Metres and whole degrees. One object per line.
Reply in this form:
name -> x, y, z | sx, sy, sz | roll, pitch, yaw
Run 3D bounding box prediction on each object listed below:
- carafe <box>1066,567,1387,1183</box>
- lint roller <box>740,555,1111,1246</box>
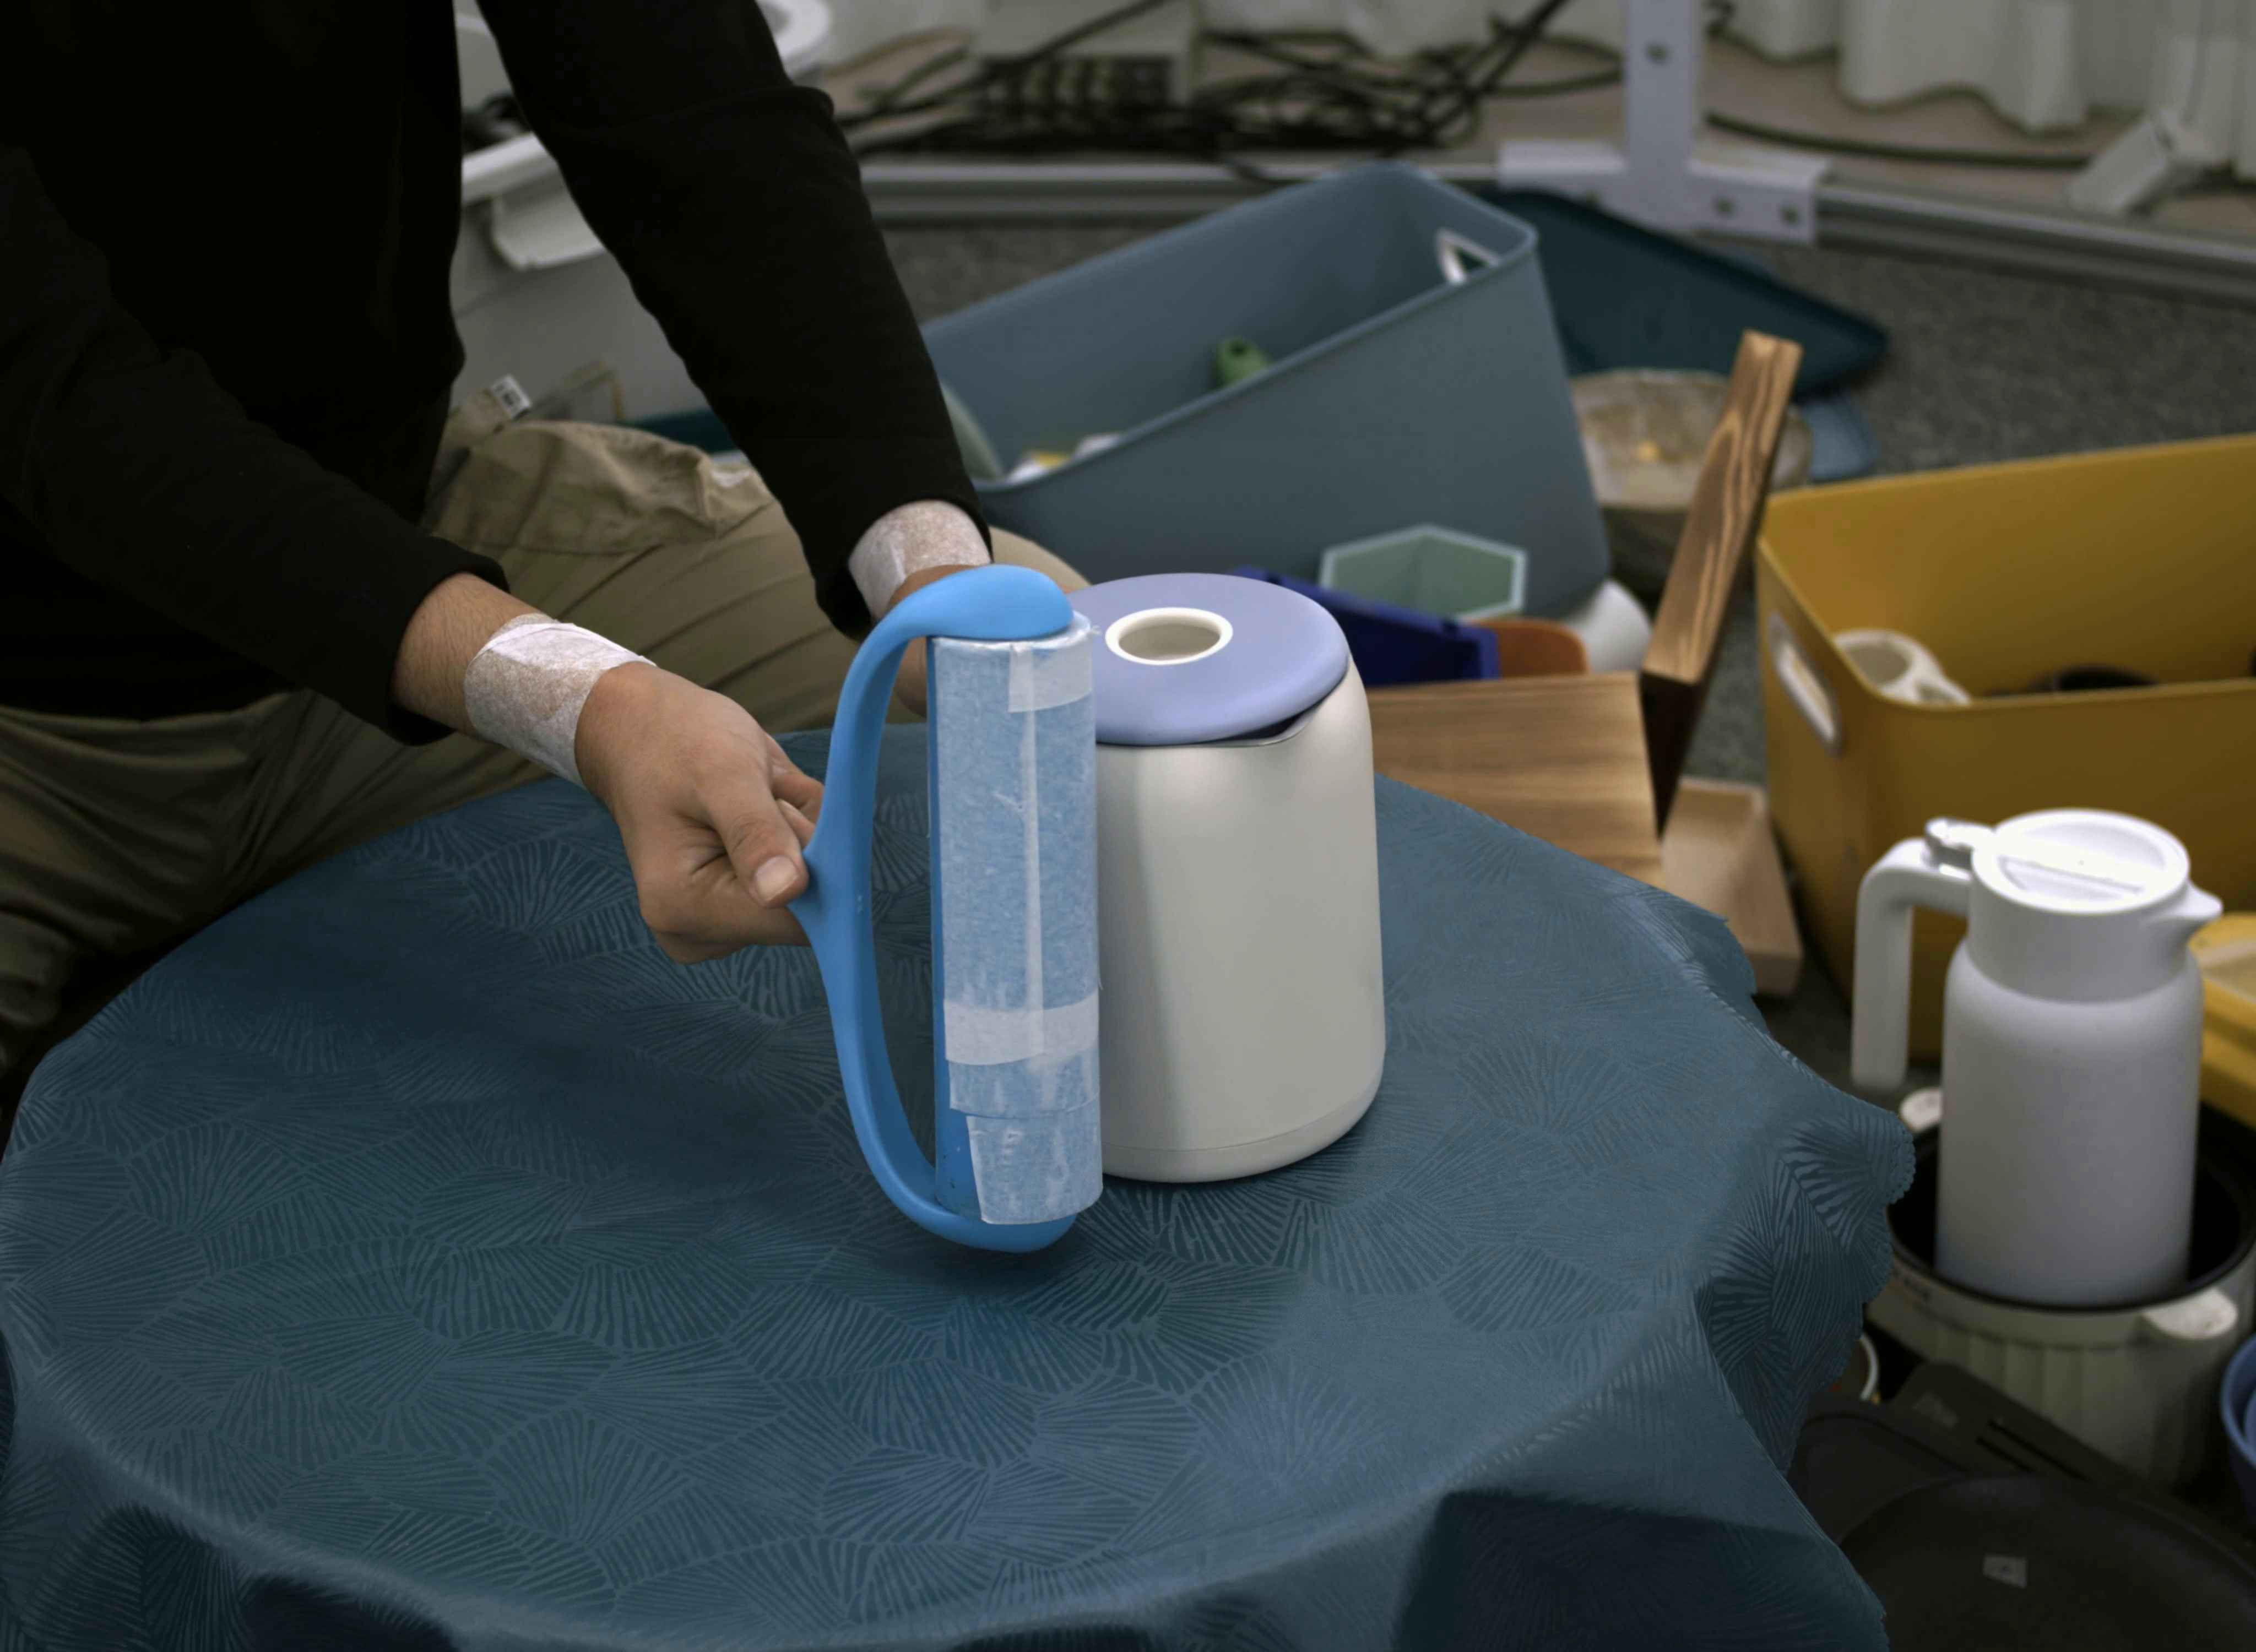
carafe -> 0.005, 0.007, 1.896 | 0.133, 0.181, 0.191 | -18, 28, -29
lint roller -> -0.079, 0.017, 1.831 | 0.179, 0.228, 0.068 | 11, 21, 40
